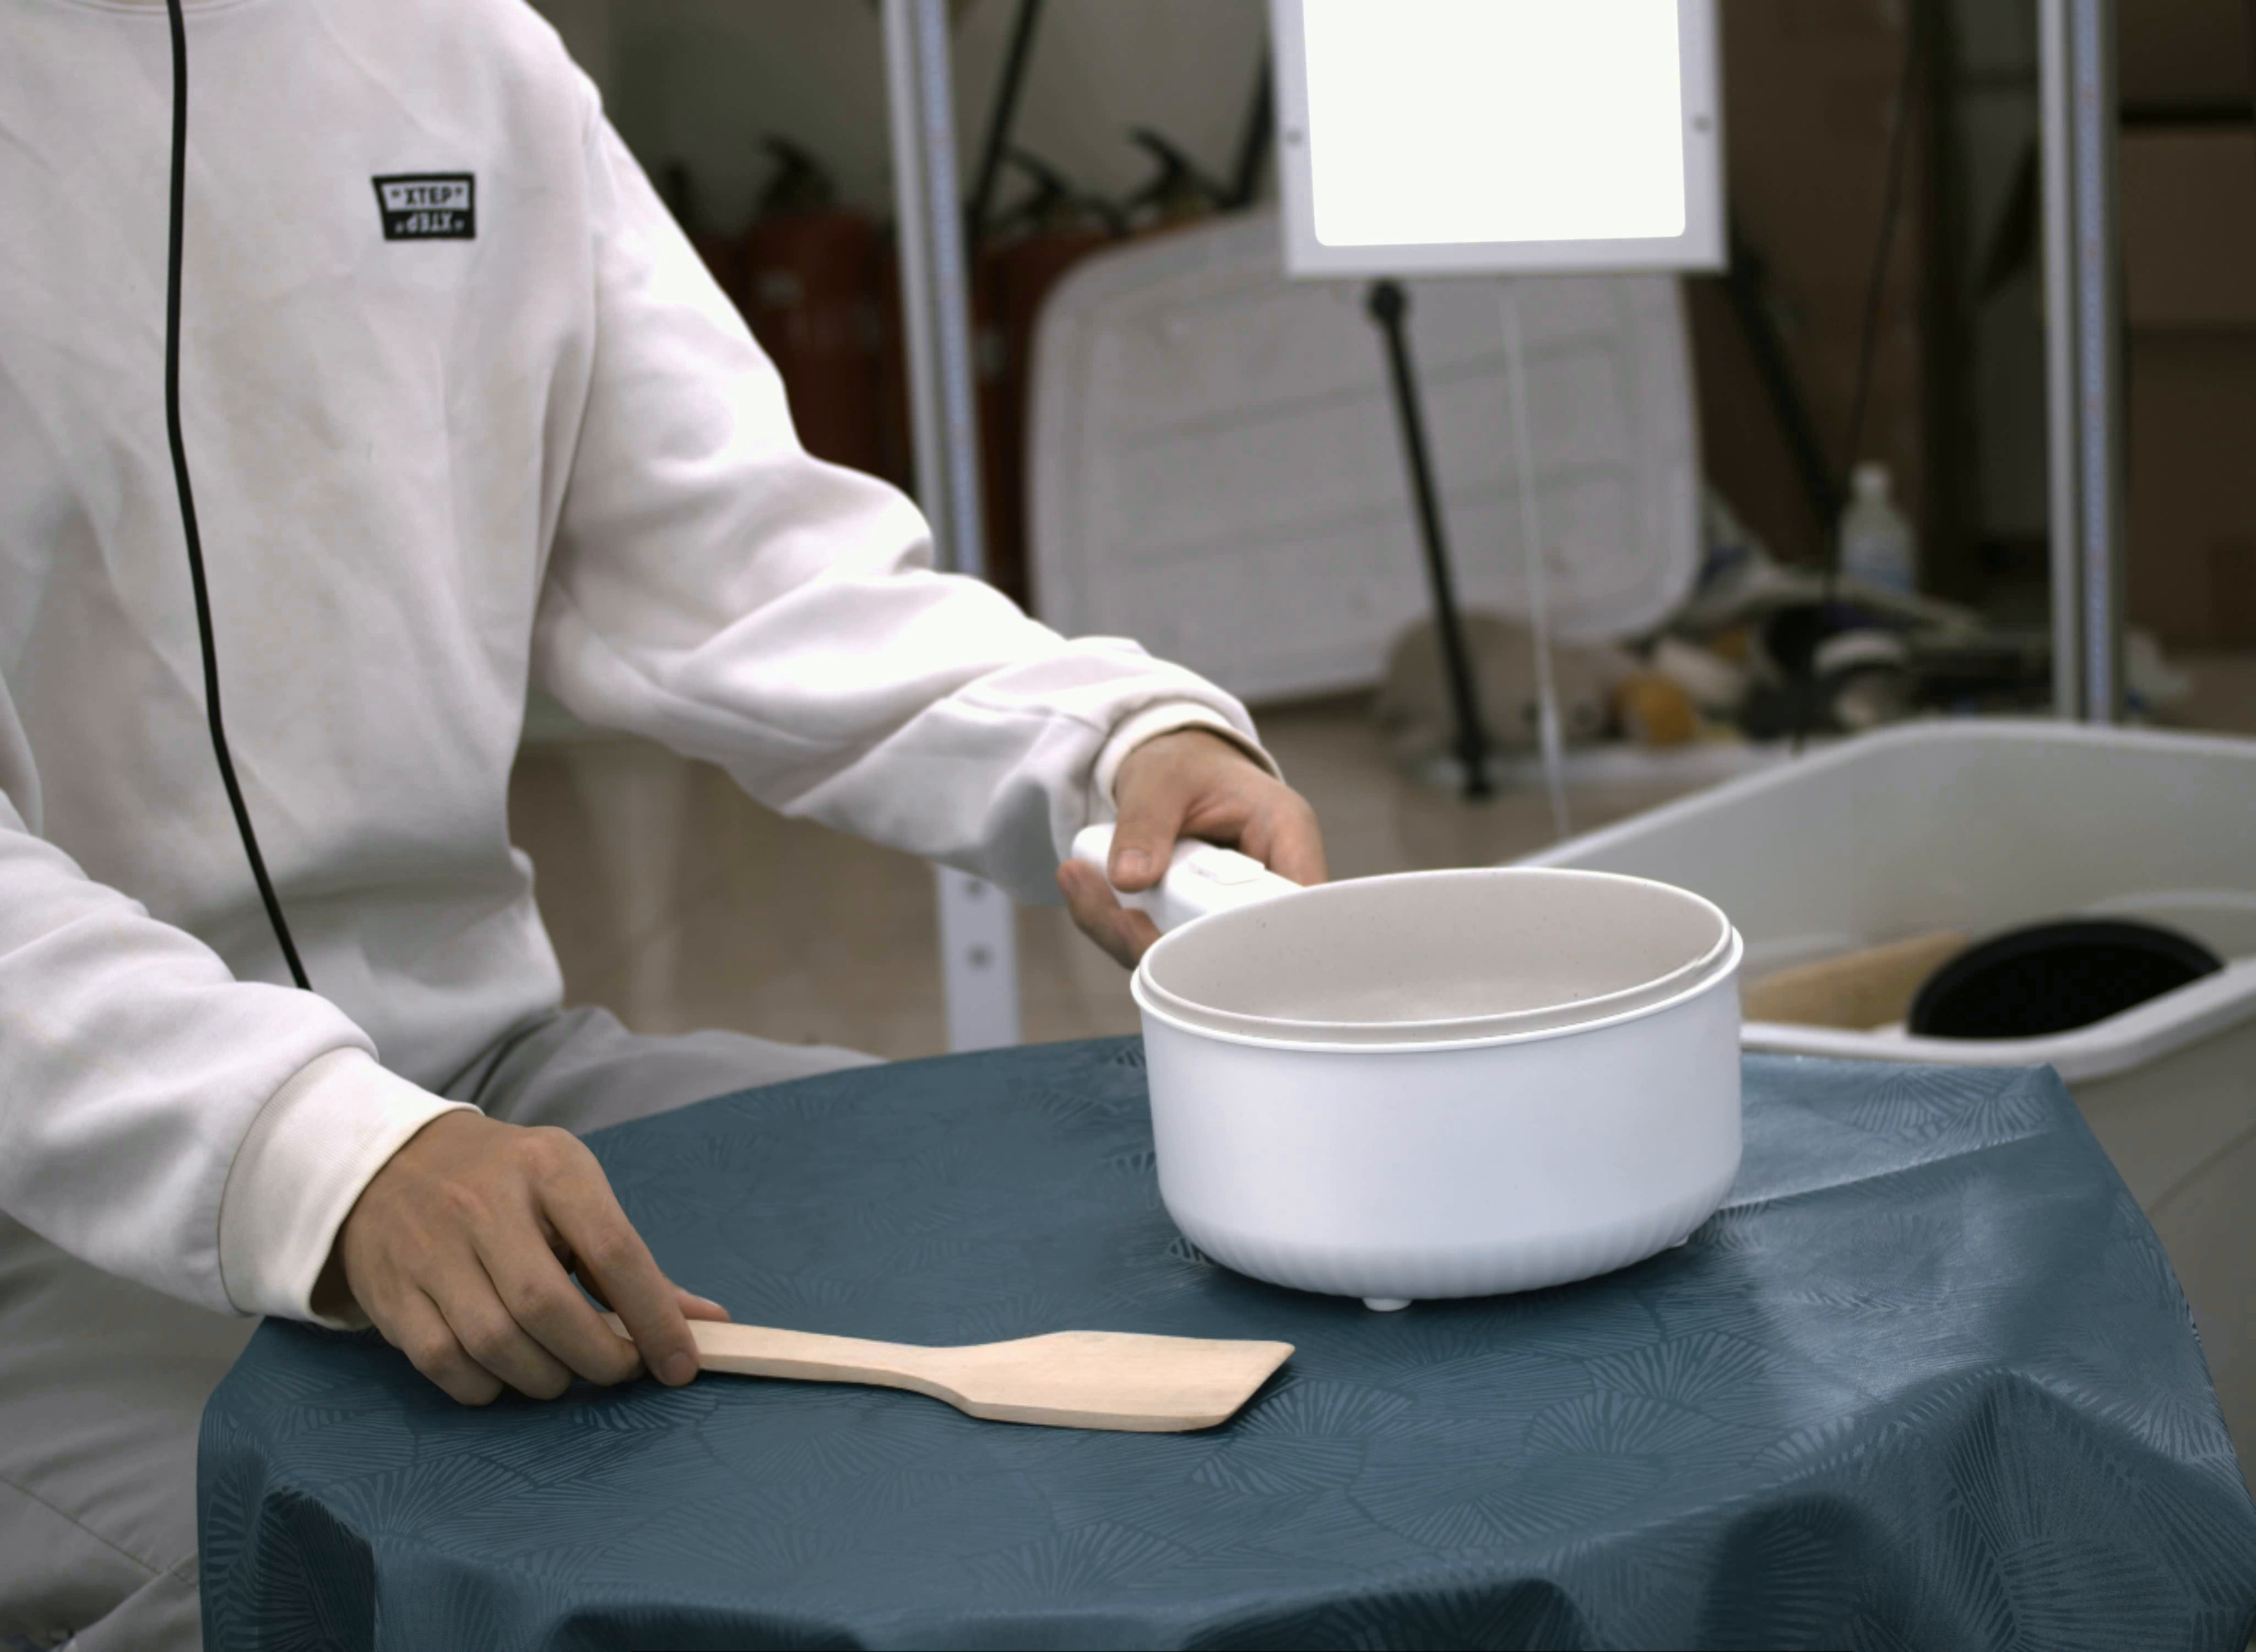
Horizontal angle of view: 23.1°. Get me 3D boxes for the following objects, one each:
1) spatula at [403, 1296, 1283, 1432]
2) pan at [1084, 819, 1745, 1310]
[{"bbox_3d":[-0.097,0.167,1.741,0.297,0.011,0.071,2,16,23],"label":"spatula"},{"bbox_3d":[0.074,0.074,1.880,0.197,0.102,0.360,-11,14,-22],"label":"pan"}]
